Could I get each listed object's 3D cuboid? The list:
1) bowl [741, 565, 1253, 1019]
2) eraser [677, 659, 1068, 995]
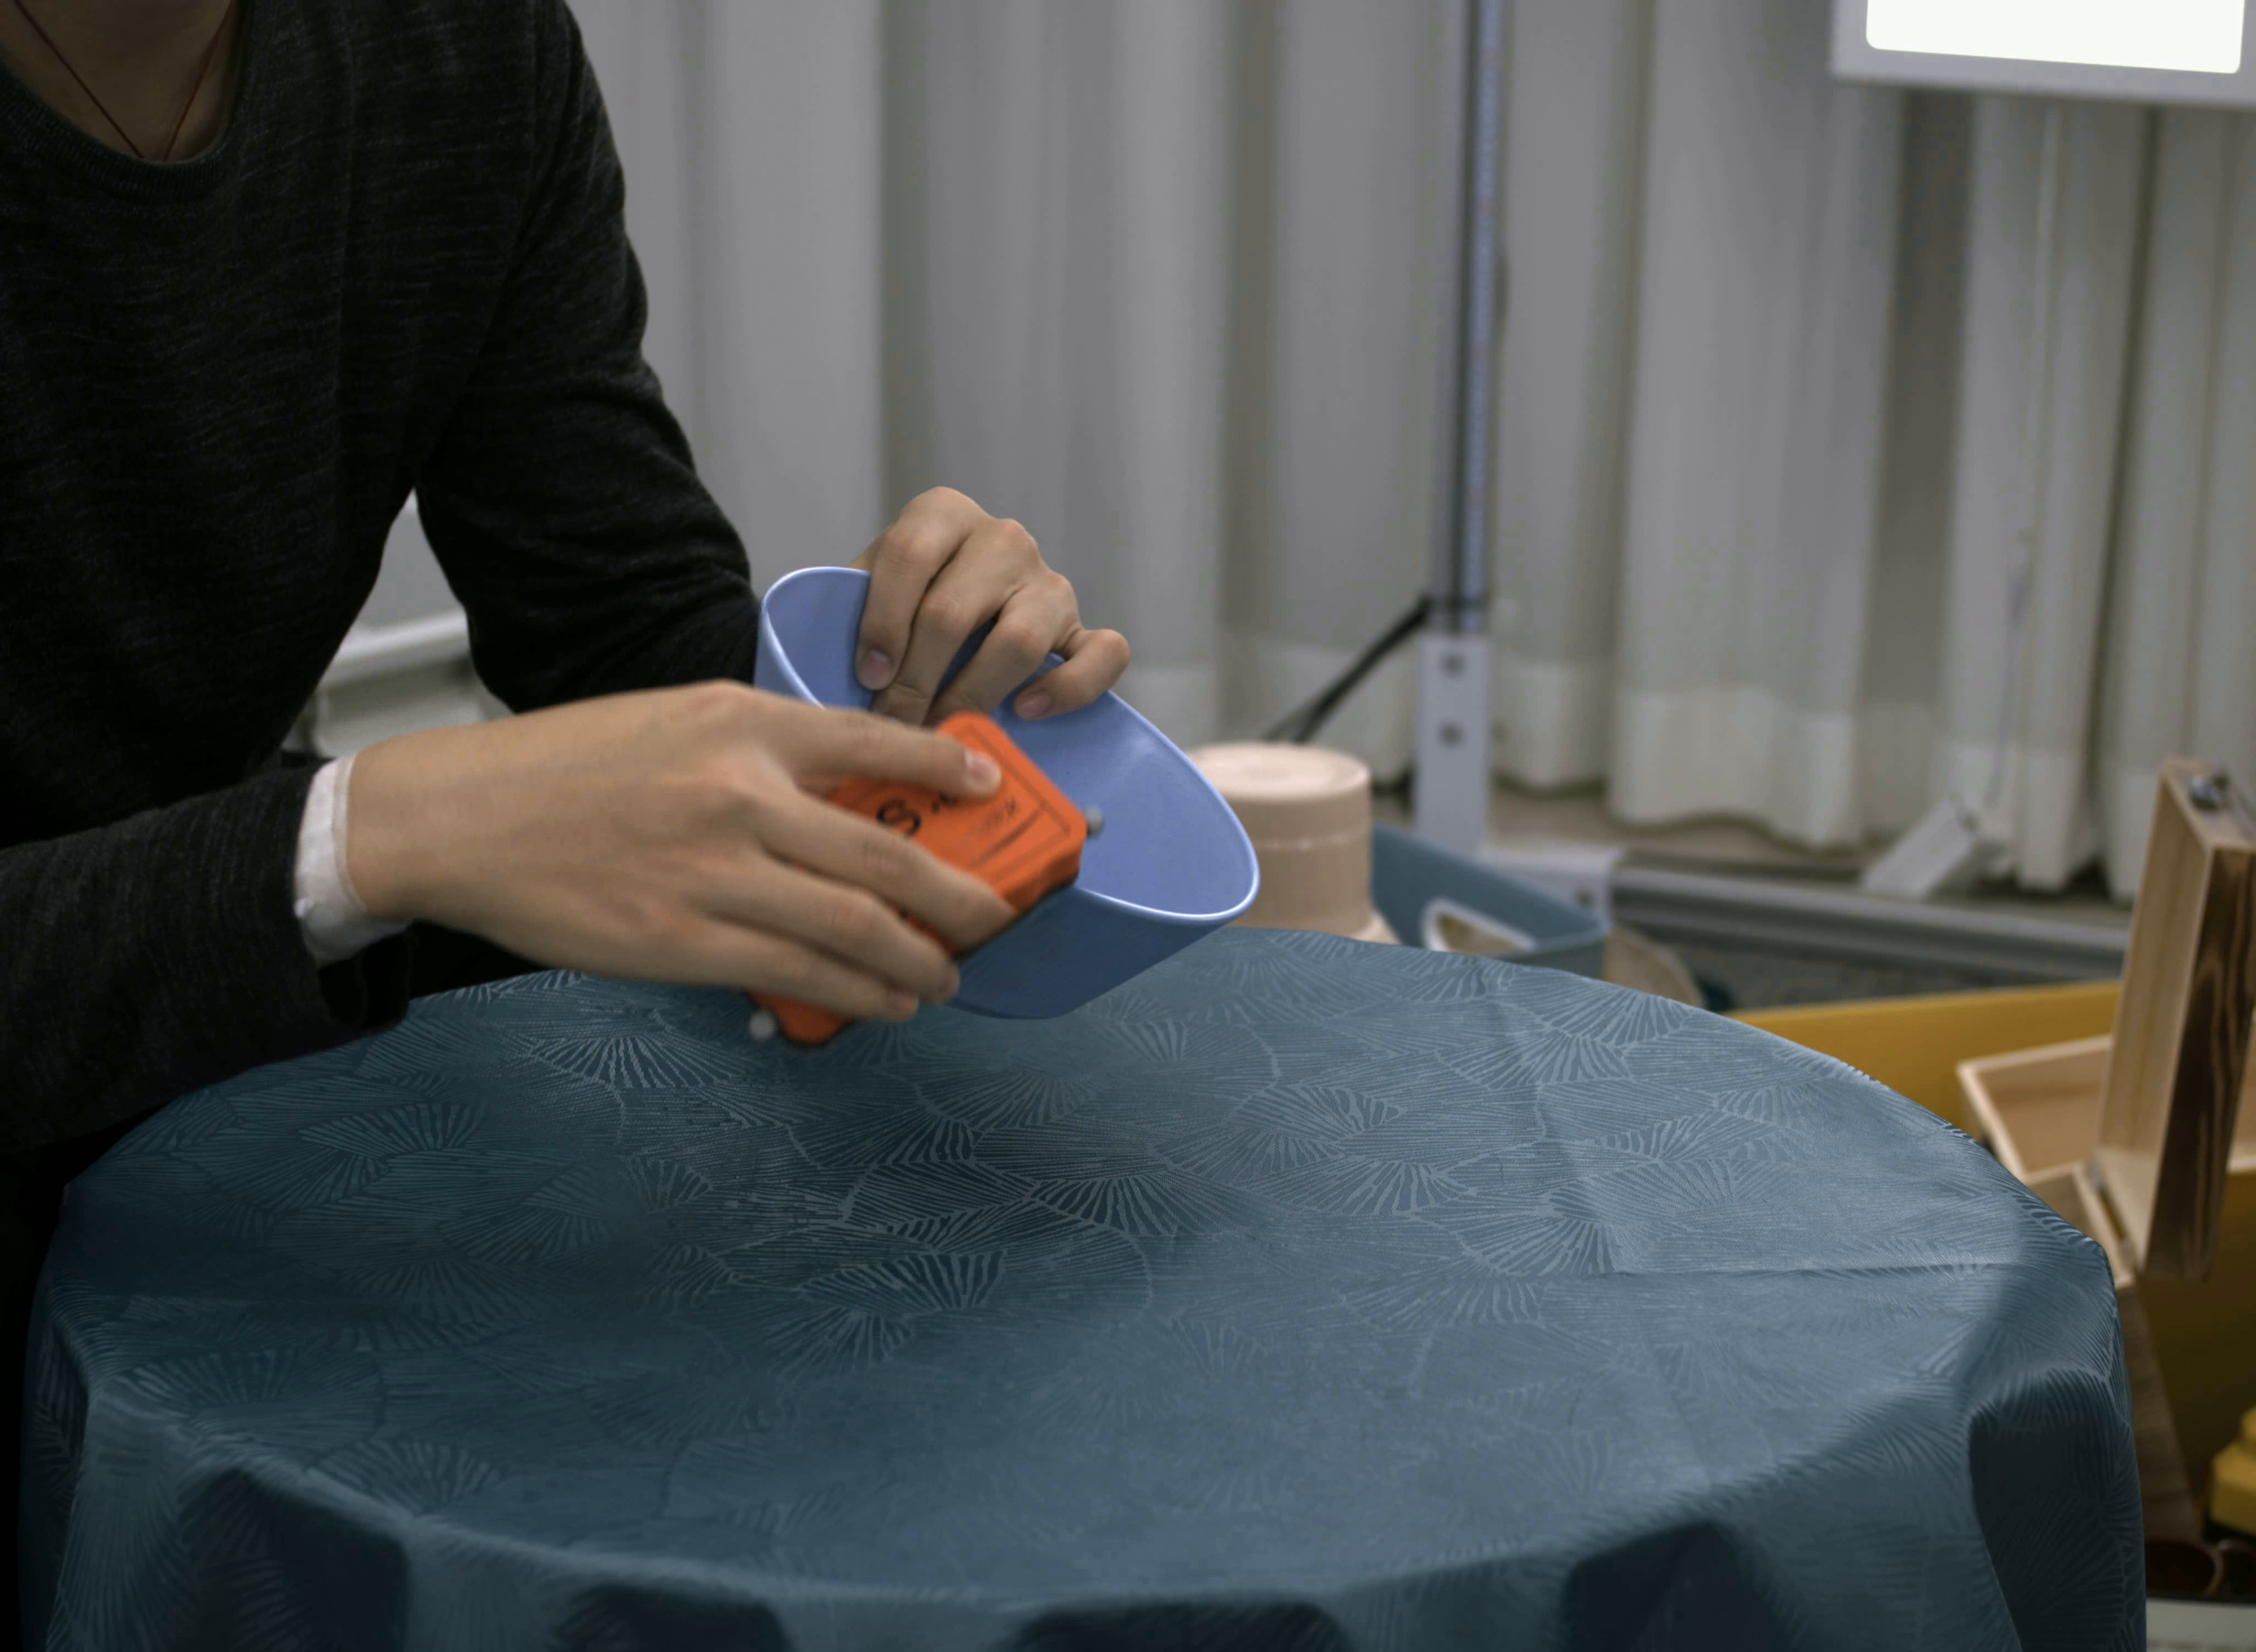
[{"bbox_3d":[-0.052,-0.001,1.613,0.177,0.070,0.175,29,21,-12],"label":"bowl"},{"bbox_3d":[-0.072,0.000,1.496,0.108,0.023,0.058,-36,68,-28],"label":"eraser"}]
